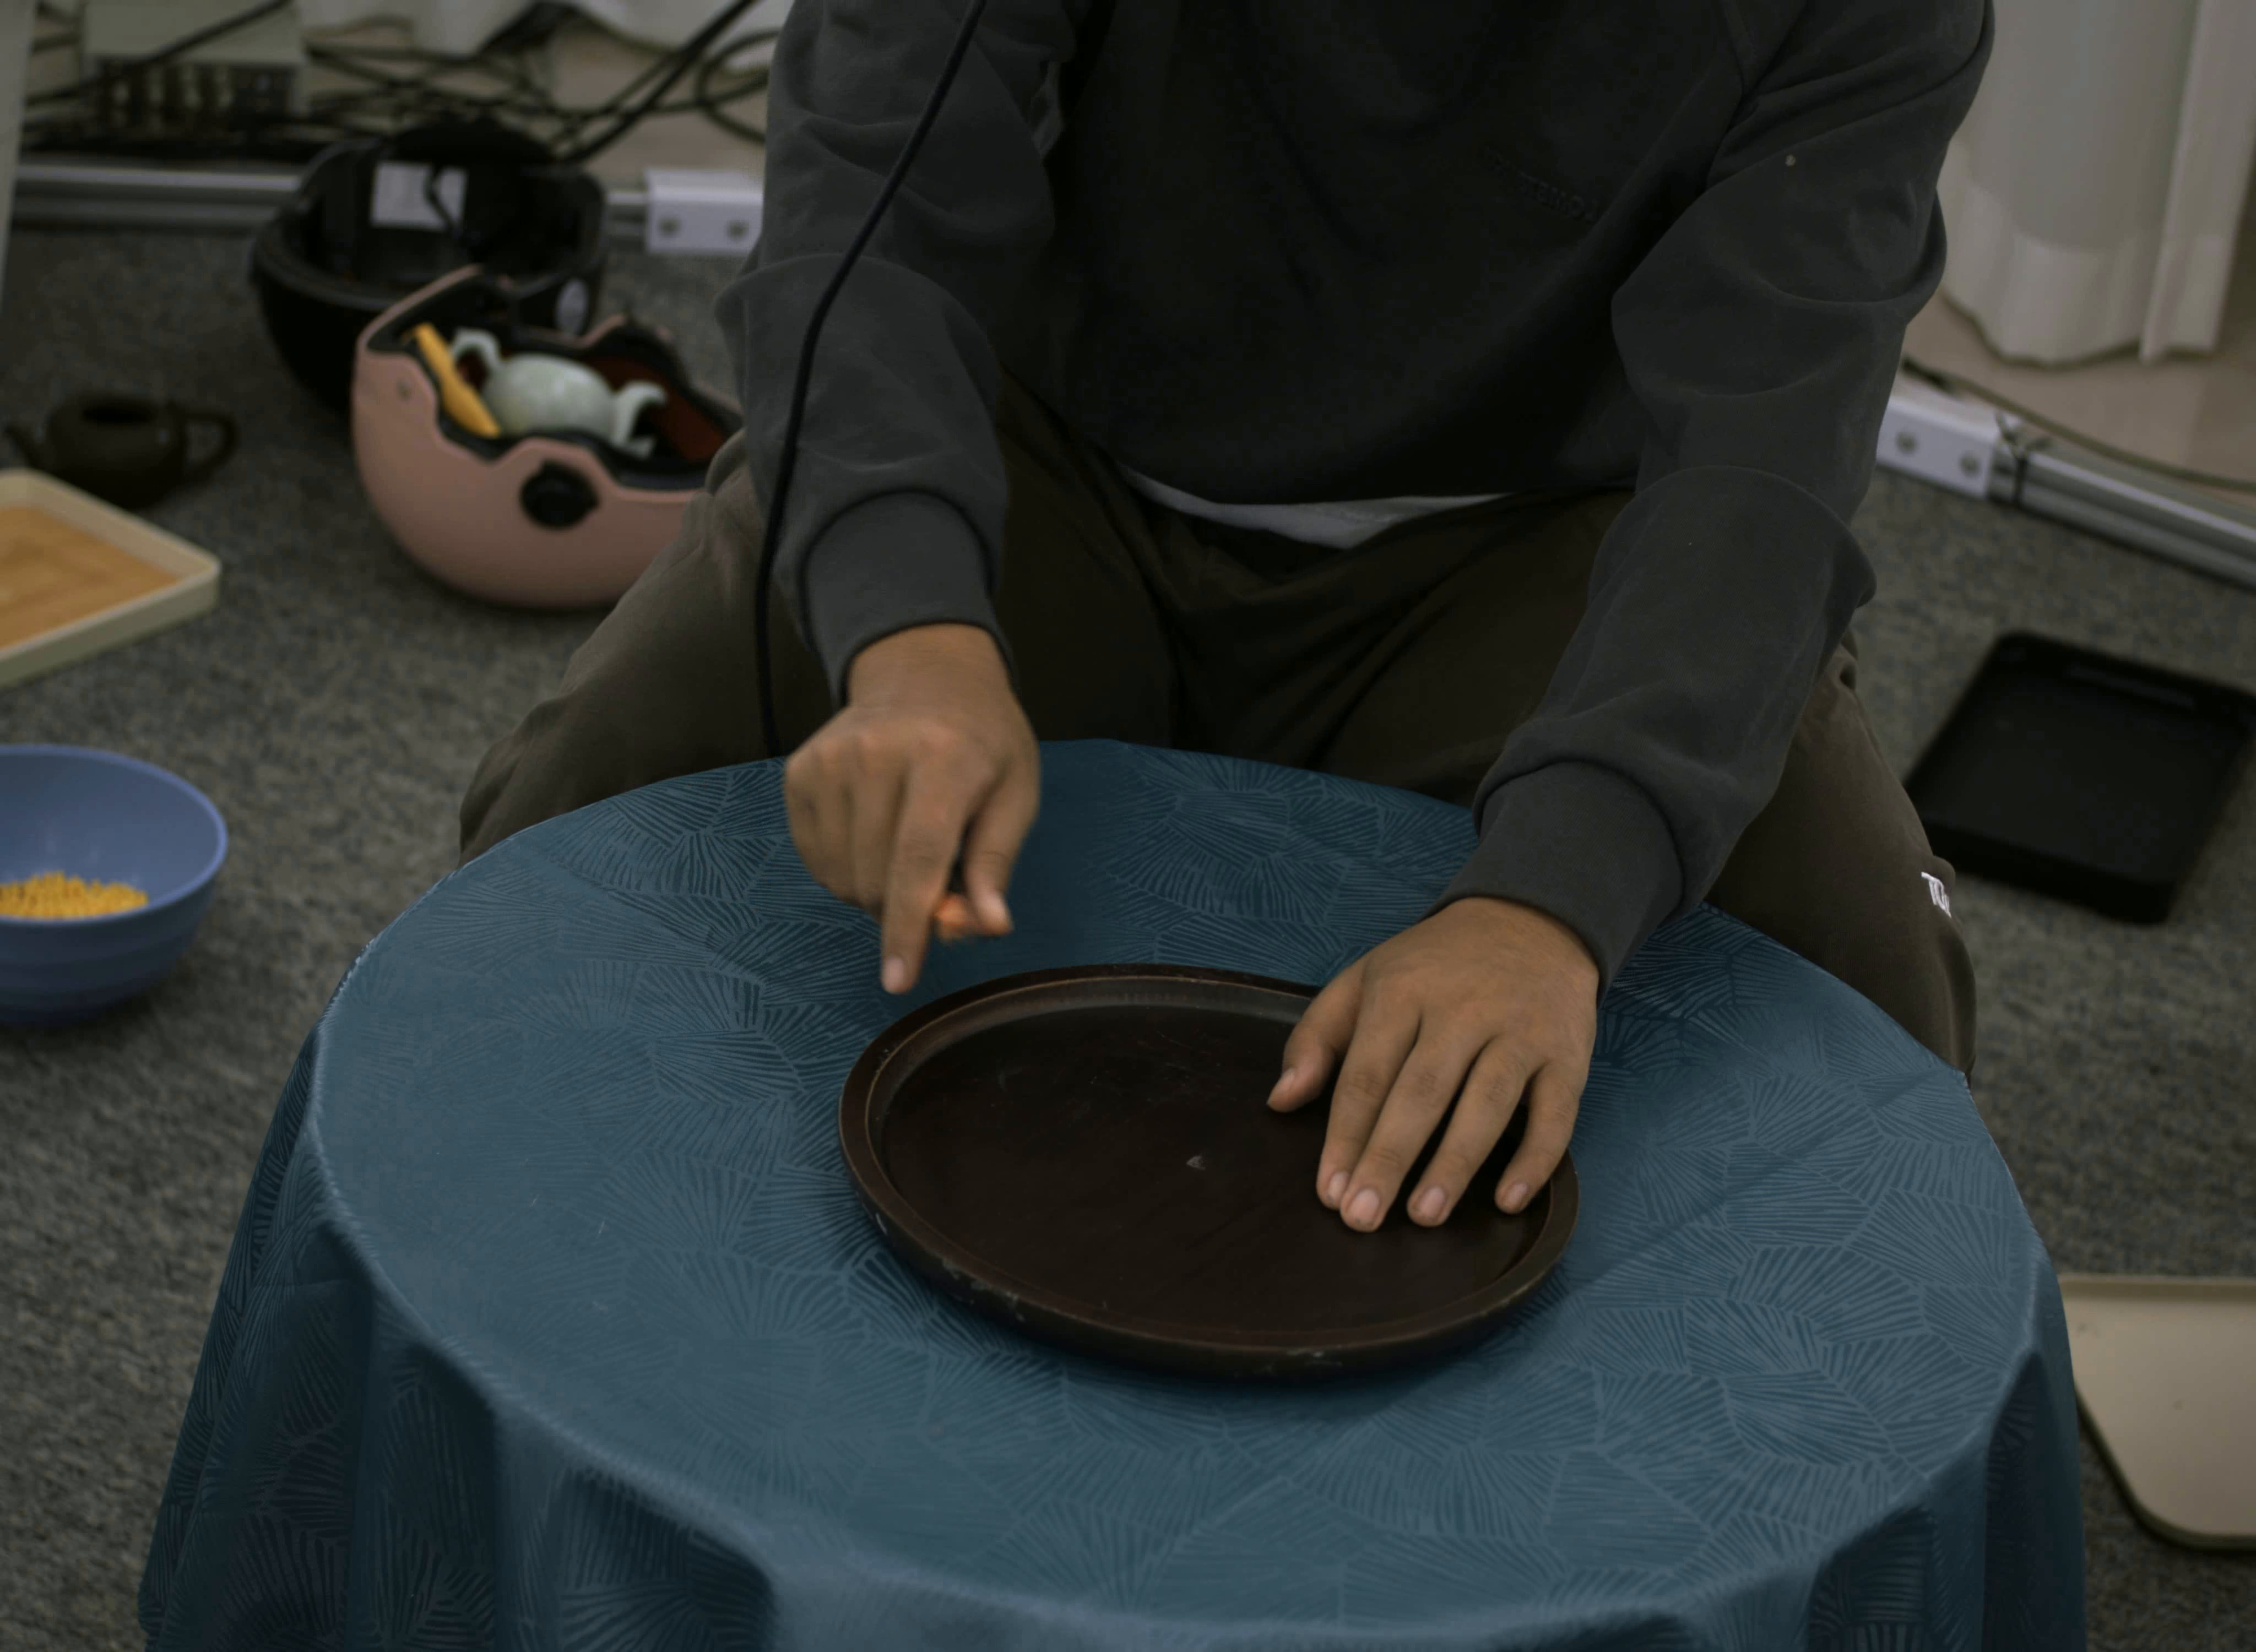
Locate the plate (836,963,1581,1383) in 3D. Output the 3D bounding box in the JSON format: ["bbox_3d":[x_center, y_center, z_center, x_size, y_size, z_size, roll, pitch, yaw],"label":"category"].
[{"bbox_3d":[0.027,0.116,1.803,0.254,0.029,0.256,4,26,-2],"label":"plate"}]

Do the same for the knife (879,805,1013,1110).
[{"bbox_3d":[-0.062,0.042,1.819,0.017,0.026,0.227,-16,25,-5],"label":"knife"}]
